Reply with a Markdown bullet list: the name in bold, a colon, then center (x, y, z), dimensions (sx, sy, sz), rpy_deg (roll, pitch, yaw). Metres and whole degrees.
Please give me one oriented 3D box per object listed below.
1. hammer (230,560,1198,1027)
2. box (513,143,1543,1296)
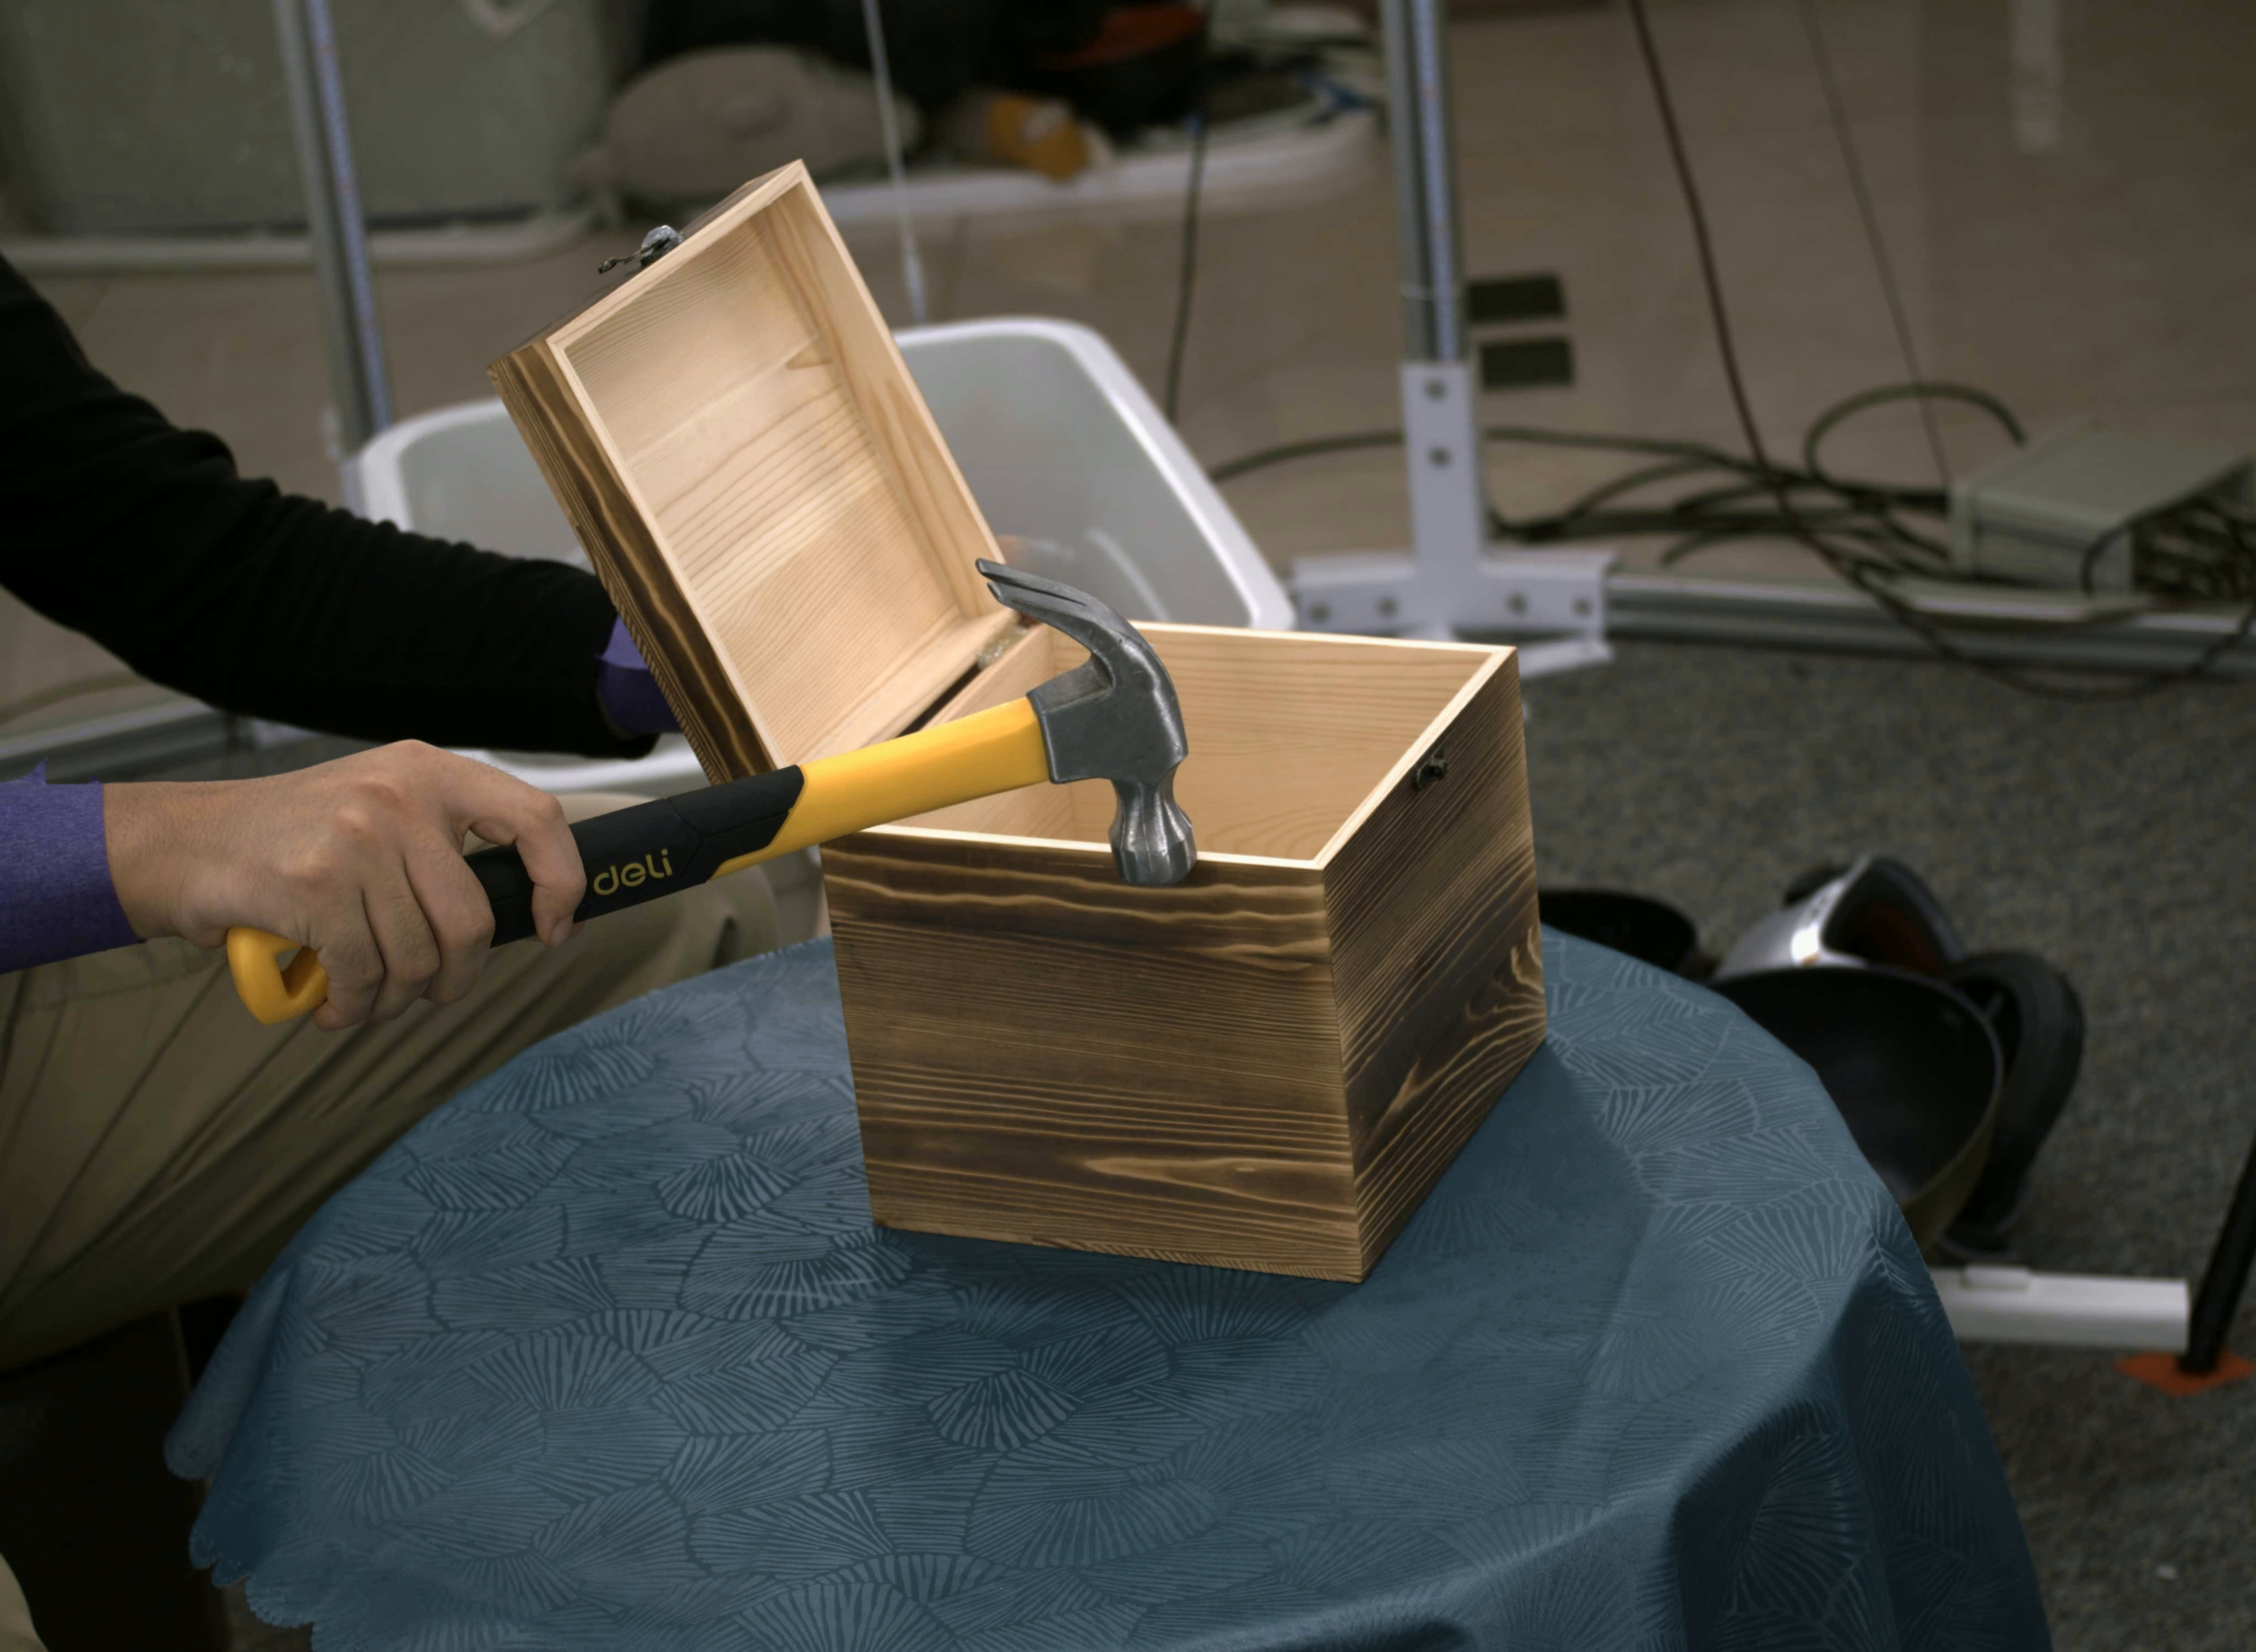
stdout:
- **hammer**: center (-0.144, 0.003, 1.949), dimensions (0.337, 0.134, 0.032), rpy_deg (-17, 32, -10)
- **box**: center (-0.031, -0.049, 2.126), dimensions (0.321, 0.381, 0.206), rpy_deg (6, 29, 24)
